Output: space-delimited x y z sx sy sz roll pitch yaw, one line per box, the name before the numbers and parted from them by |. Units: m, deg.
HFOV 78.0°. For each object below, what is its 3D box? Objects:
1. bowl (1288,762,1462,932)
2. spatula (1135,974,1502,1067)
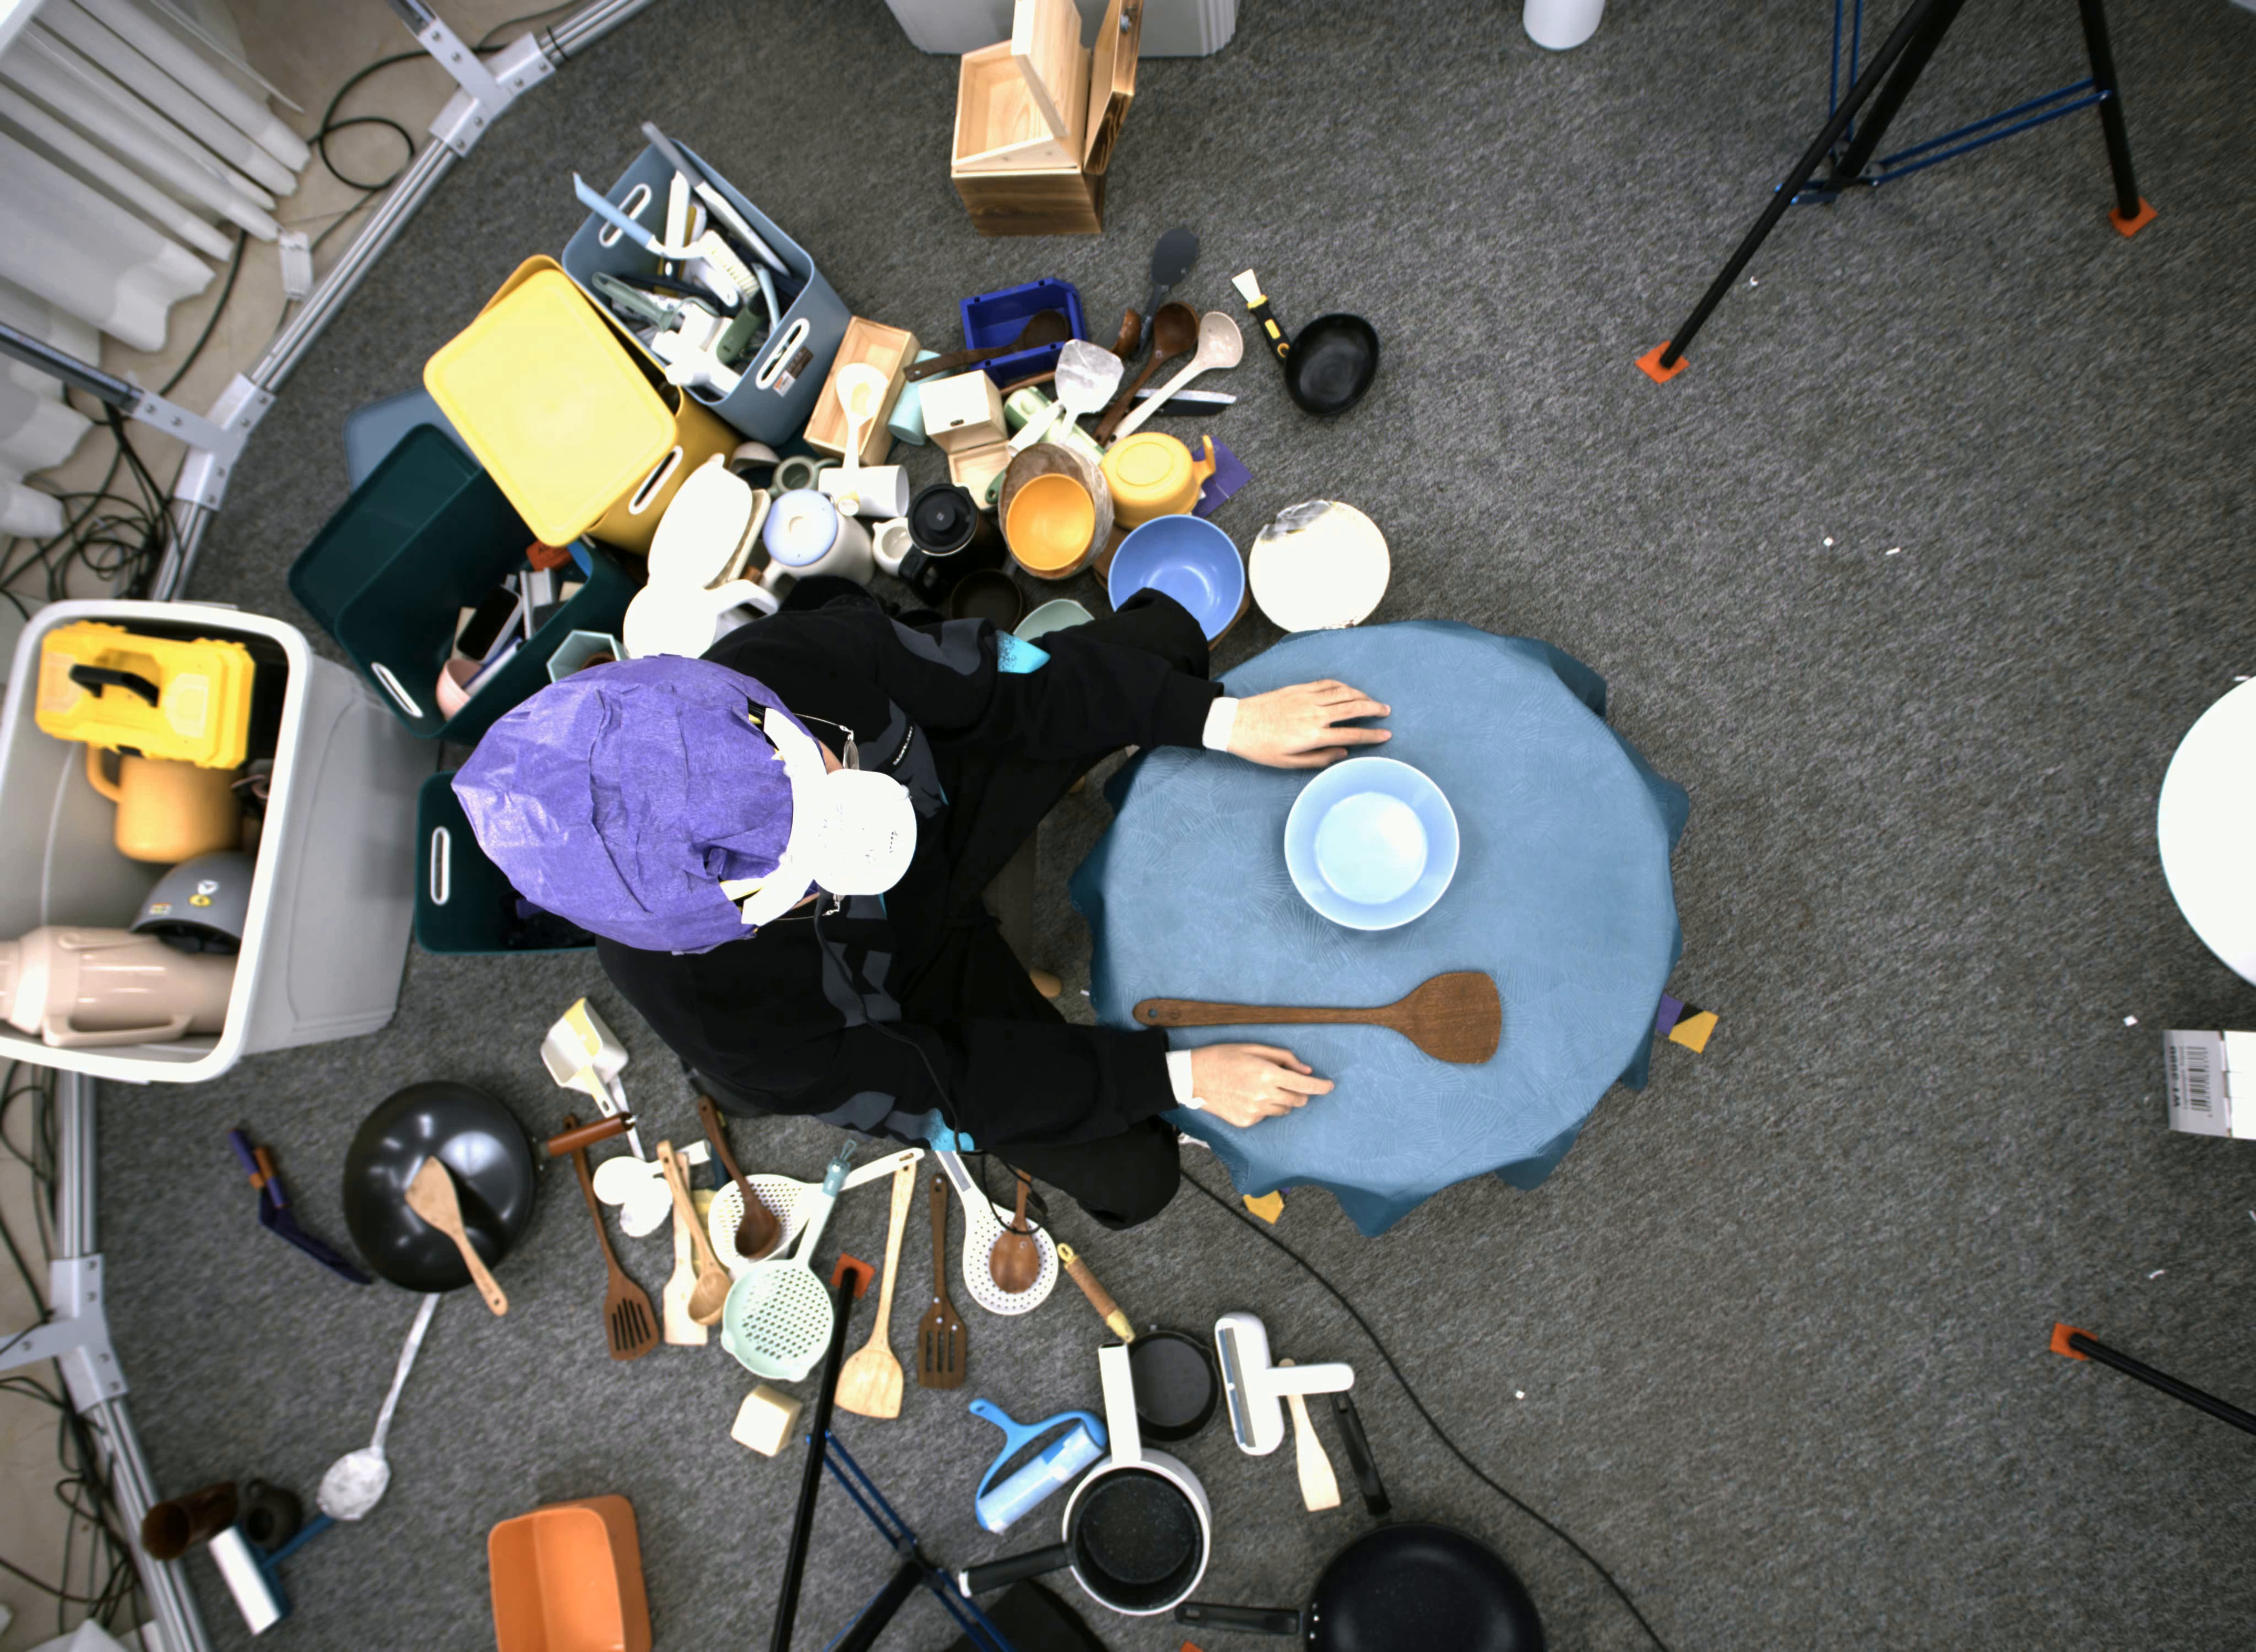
bowl | 0.256 0.023 1.436 0.177 0.070 0.175 -1 85 11
spatula | 0.197 0.202 1.462 0.387 0.016 0.095 -1 85 10
